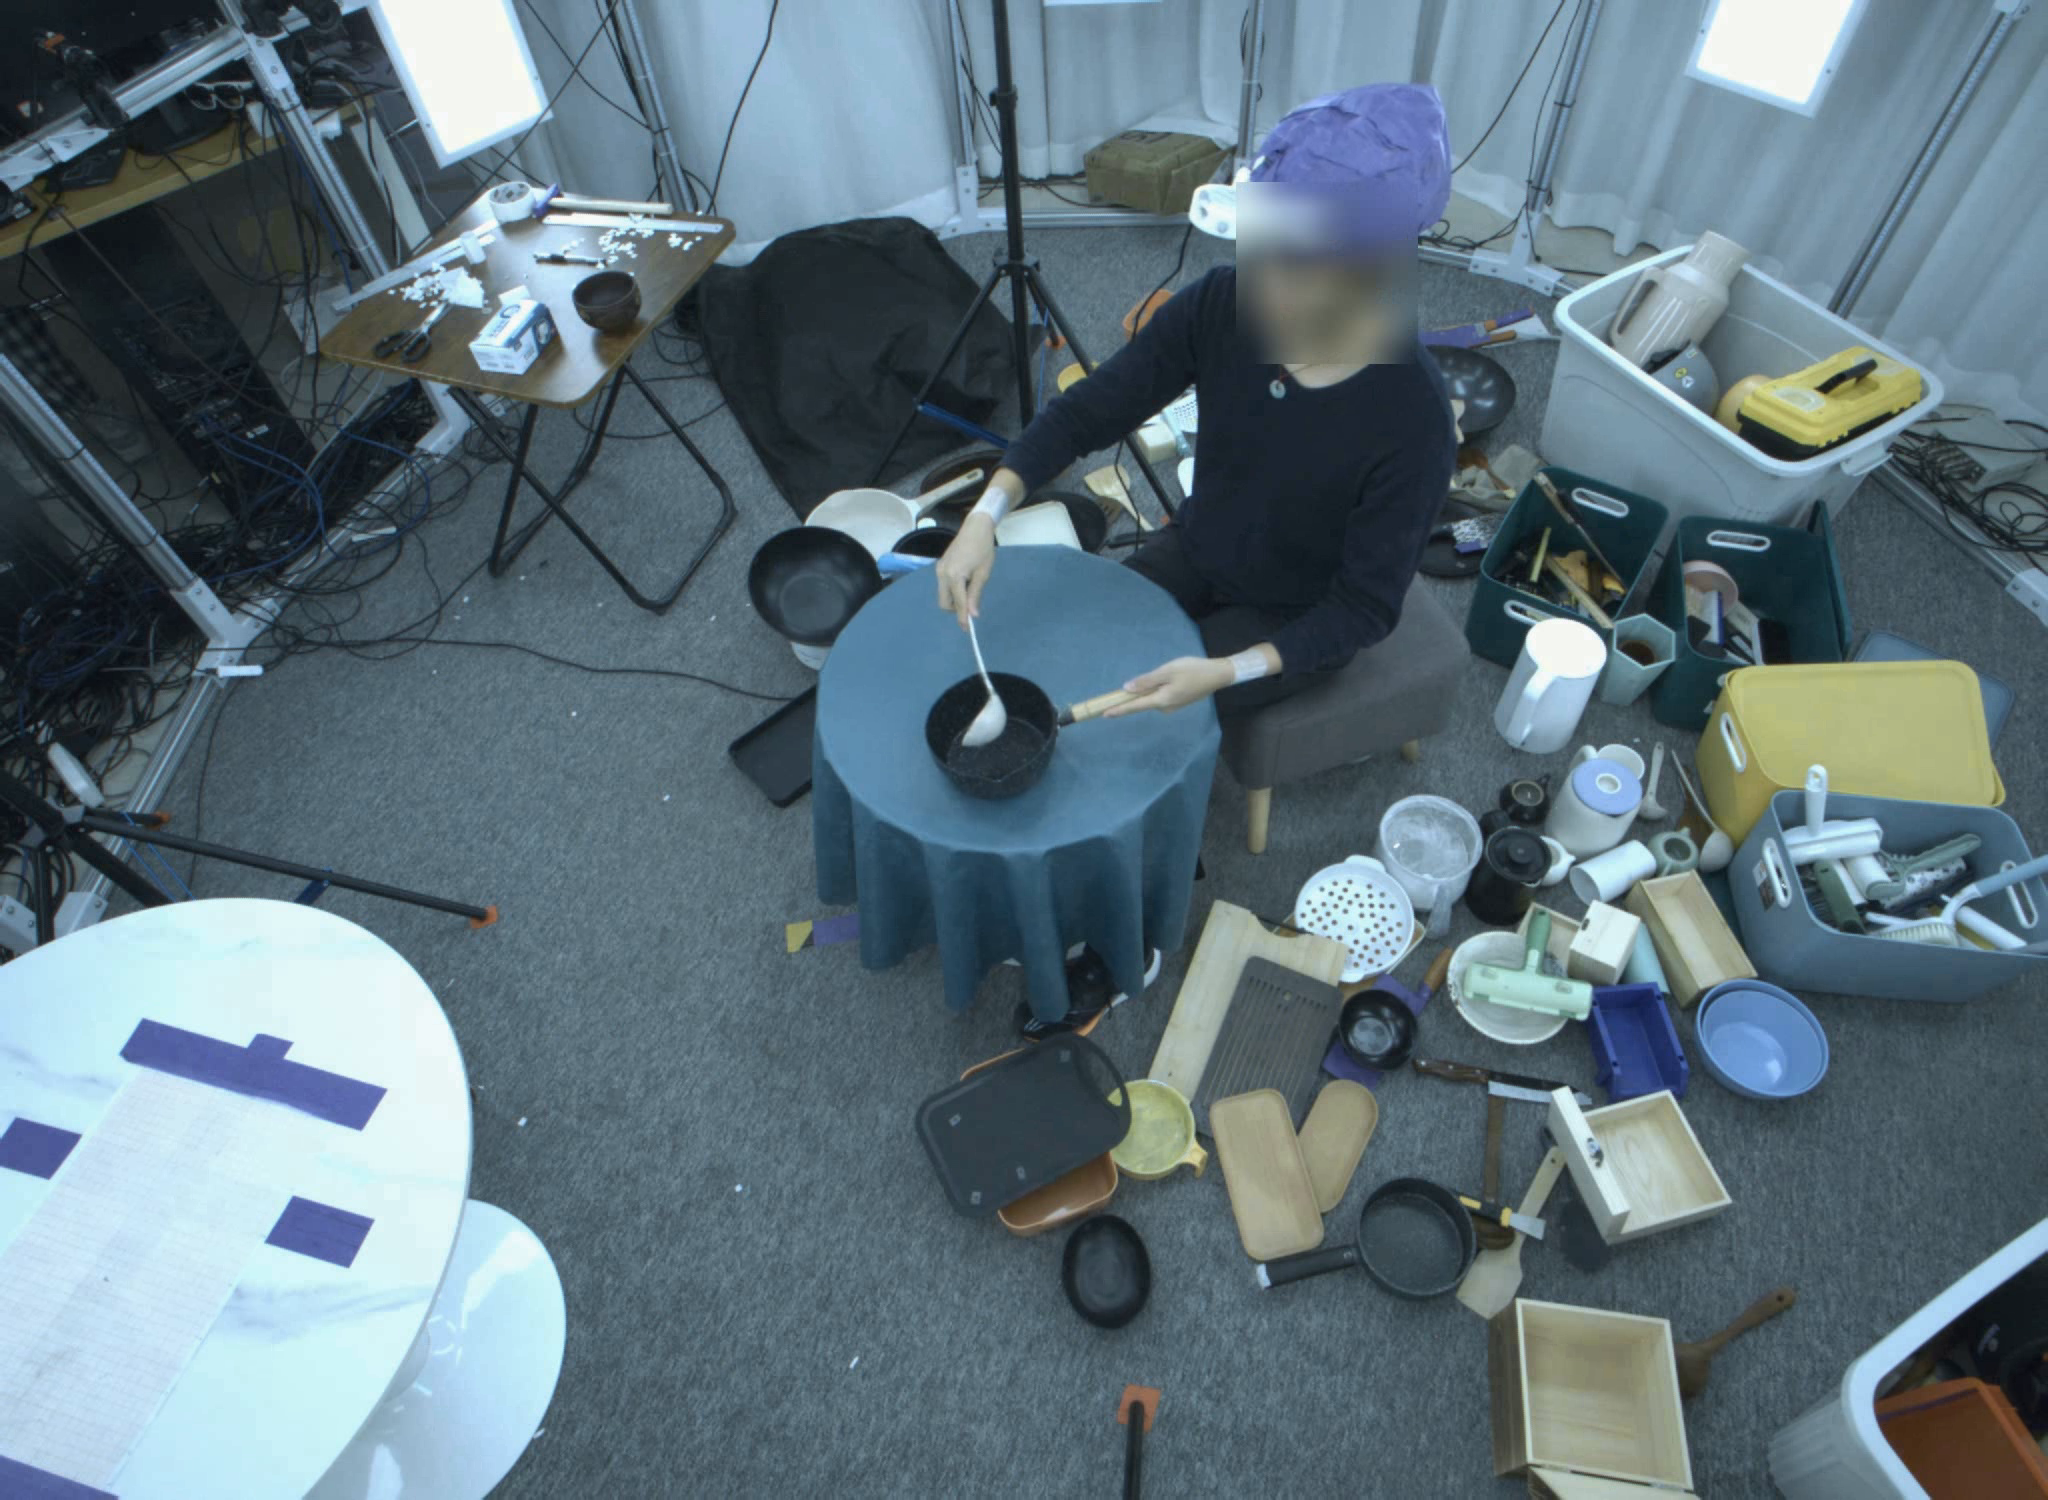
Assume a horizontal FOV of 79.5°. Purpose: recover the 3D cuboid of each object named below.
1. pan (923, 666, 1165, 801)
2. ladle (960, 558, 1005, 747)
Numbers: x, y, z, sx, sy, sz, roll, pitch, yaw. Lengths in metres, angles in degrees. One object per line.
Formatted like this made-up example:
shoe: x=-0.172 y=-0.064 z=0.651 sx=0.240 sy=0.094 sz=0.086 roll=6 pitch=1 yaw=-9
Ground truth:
pan: x=0.032 y=-0.036 z=1.736 sx=0.343 sy=0.110 sz=0.204 roll=-12 pitch=54 yaw=-1
ladle: x=-0.086 y=-0.138 z=1.716 sx=0.069 sy=0.090 sz=0.272 roll=-15 pitch=75 yaw=0
